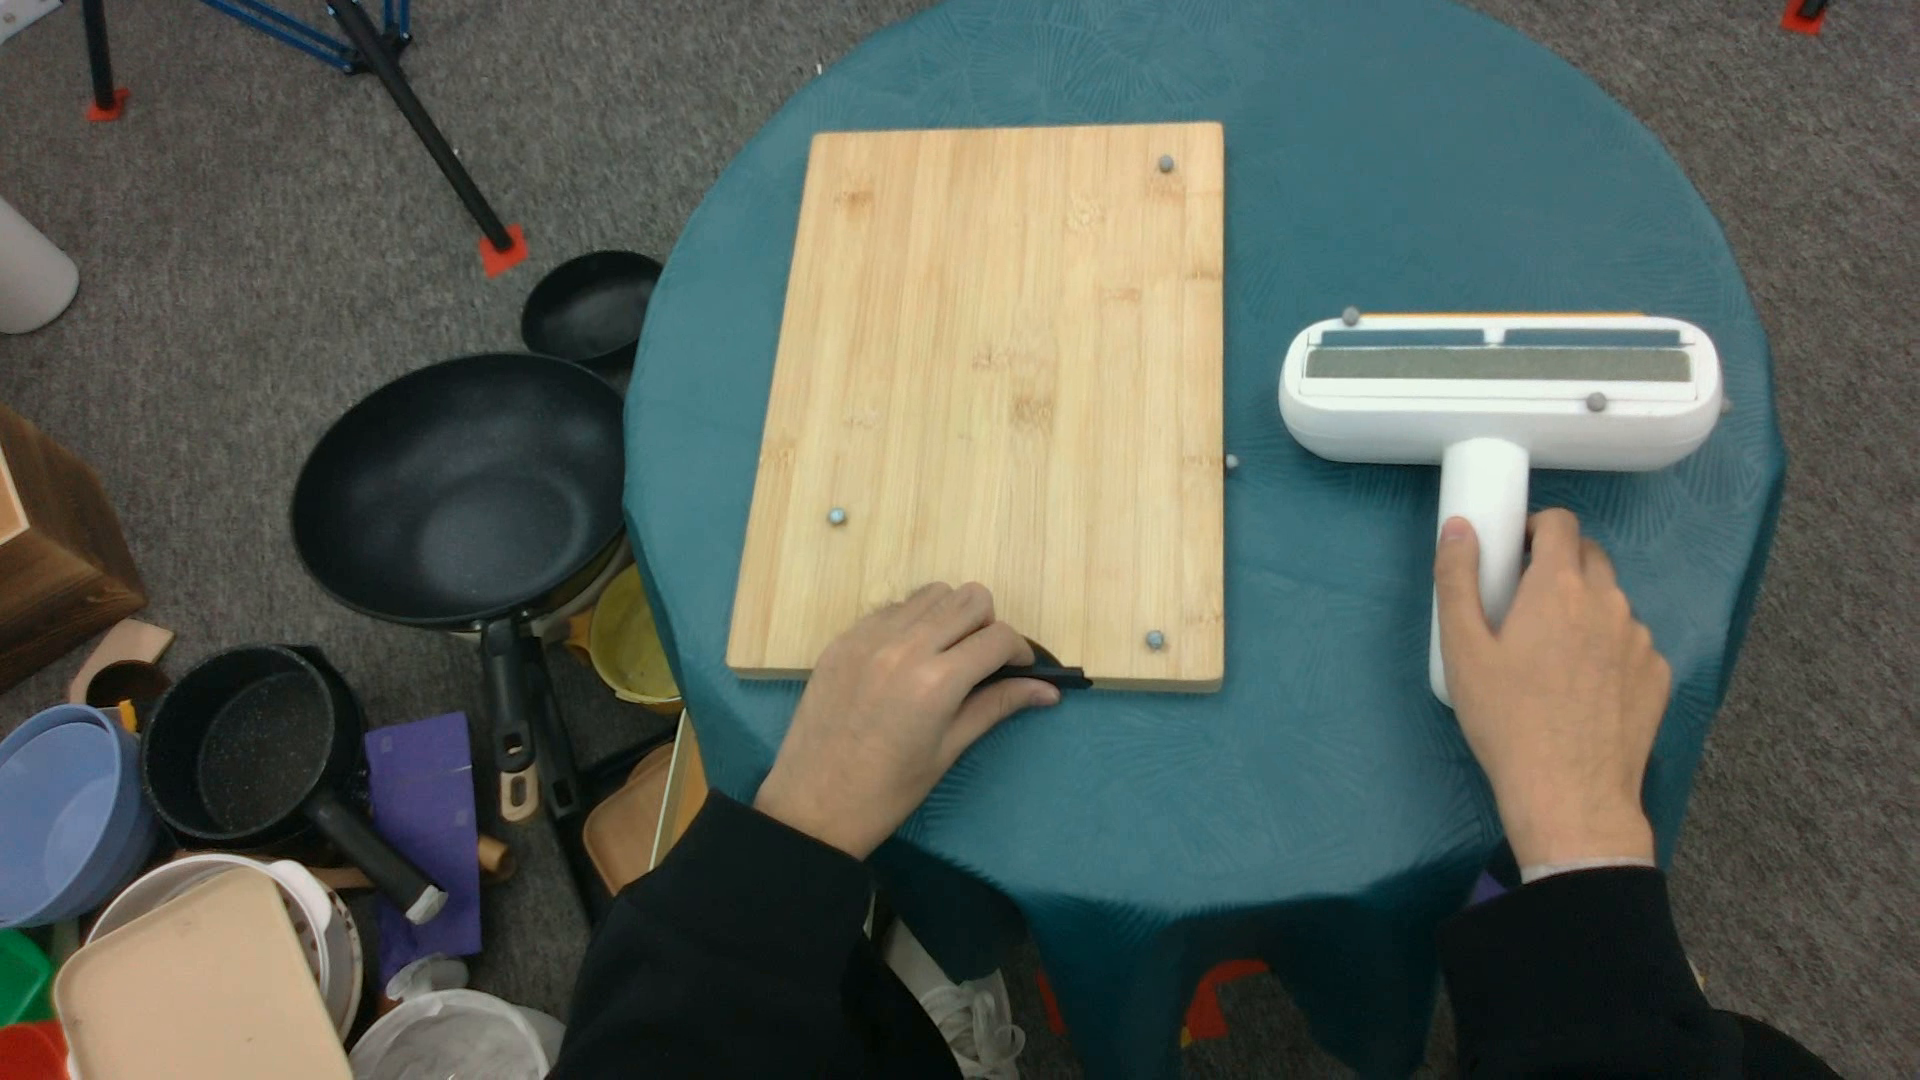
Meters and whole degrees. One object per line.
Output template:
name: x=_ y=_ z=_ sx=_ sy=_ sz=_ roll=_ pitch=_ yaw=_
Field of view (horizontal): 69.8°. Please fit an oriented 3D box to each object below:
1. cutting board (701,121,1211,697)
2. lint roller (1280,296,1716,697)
cutting board: x=0.009 y=-0.086 z=0.730 sx=0.250 sy=0.023 sz=0.350 roll=0 pitch=63 yaw=7
lint roller: x=0.238 y=-0.024 z=0.642 sx=0.192 sy=0.074 sz=0.193 roll=9 pitch=66 yaw=17
